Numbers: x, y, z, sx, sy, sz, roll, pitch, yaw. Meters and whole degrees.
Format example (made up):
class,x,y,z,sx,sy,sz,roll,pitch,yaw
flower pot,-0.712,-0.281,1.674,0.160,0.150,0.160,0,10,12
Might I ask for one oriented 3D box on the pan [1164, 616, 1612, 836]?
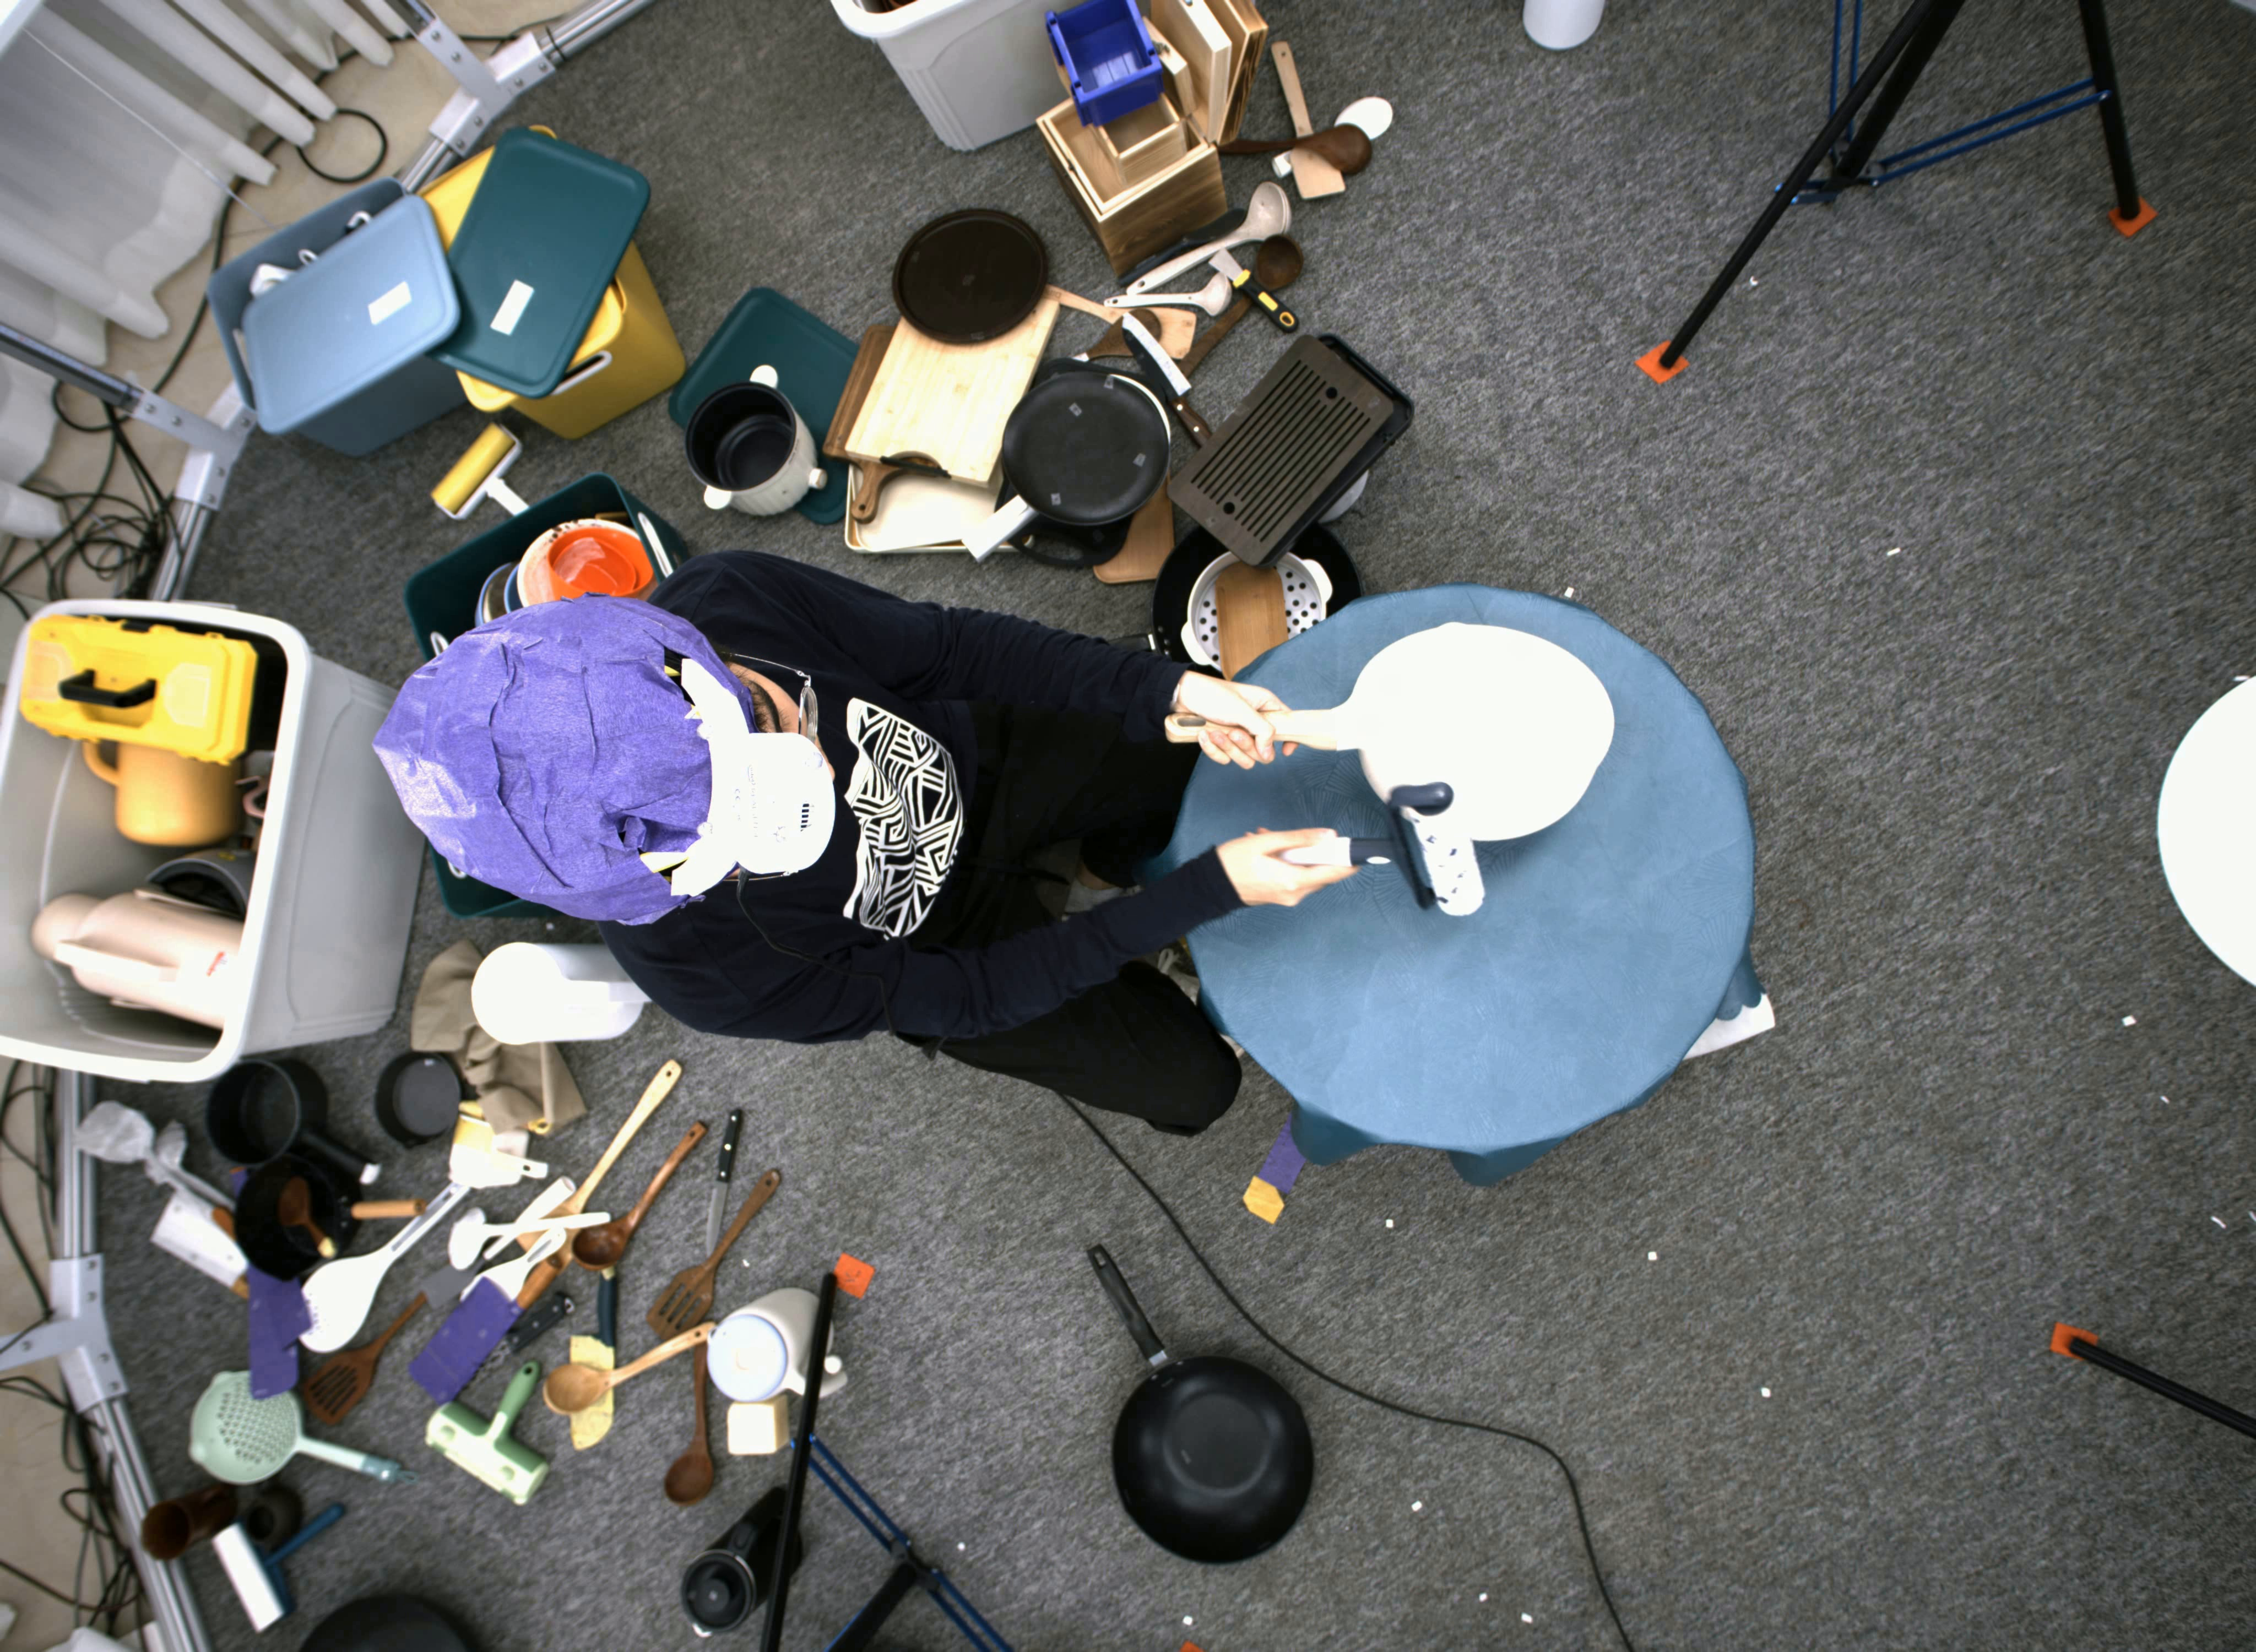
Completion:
class,x,y,z,sx,sy,sz,roll,pitch,yaw
pan,0.254,-0.090,1.362,0.435,0.104,0.257,-7,52,1

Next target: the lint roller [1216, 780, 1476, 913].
class,x,y,z,sx,sy,sz,roll,pitch,yaw
lint roller,0.202,0.025,1.338,0.249,0.179,0.049,-3,55,24
